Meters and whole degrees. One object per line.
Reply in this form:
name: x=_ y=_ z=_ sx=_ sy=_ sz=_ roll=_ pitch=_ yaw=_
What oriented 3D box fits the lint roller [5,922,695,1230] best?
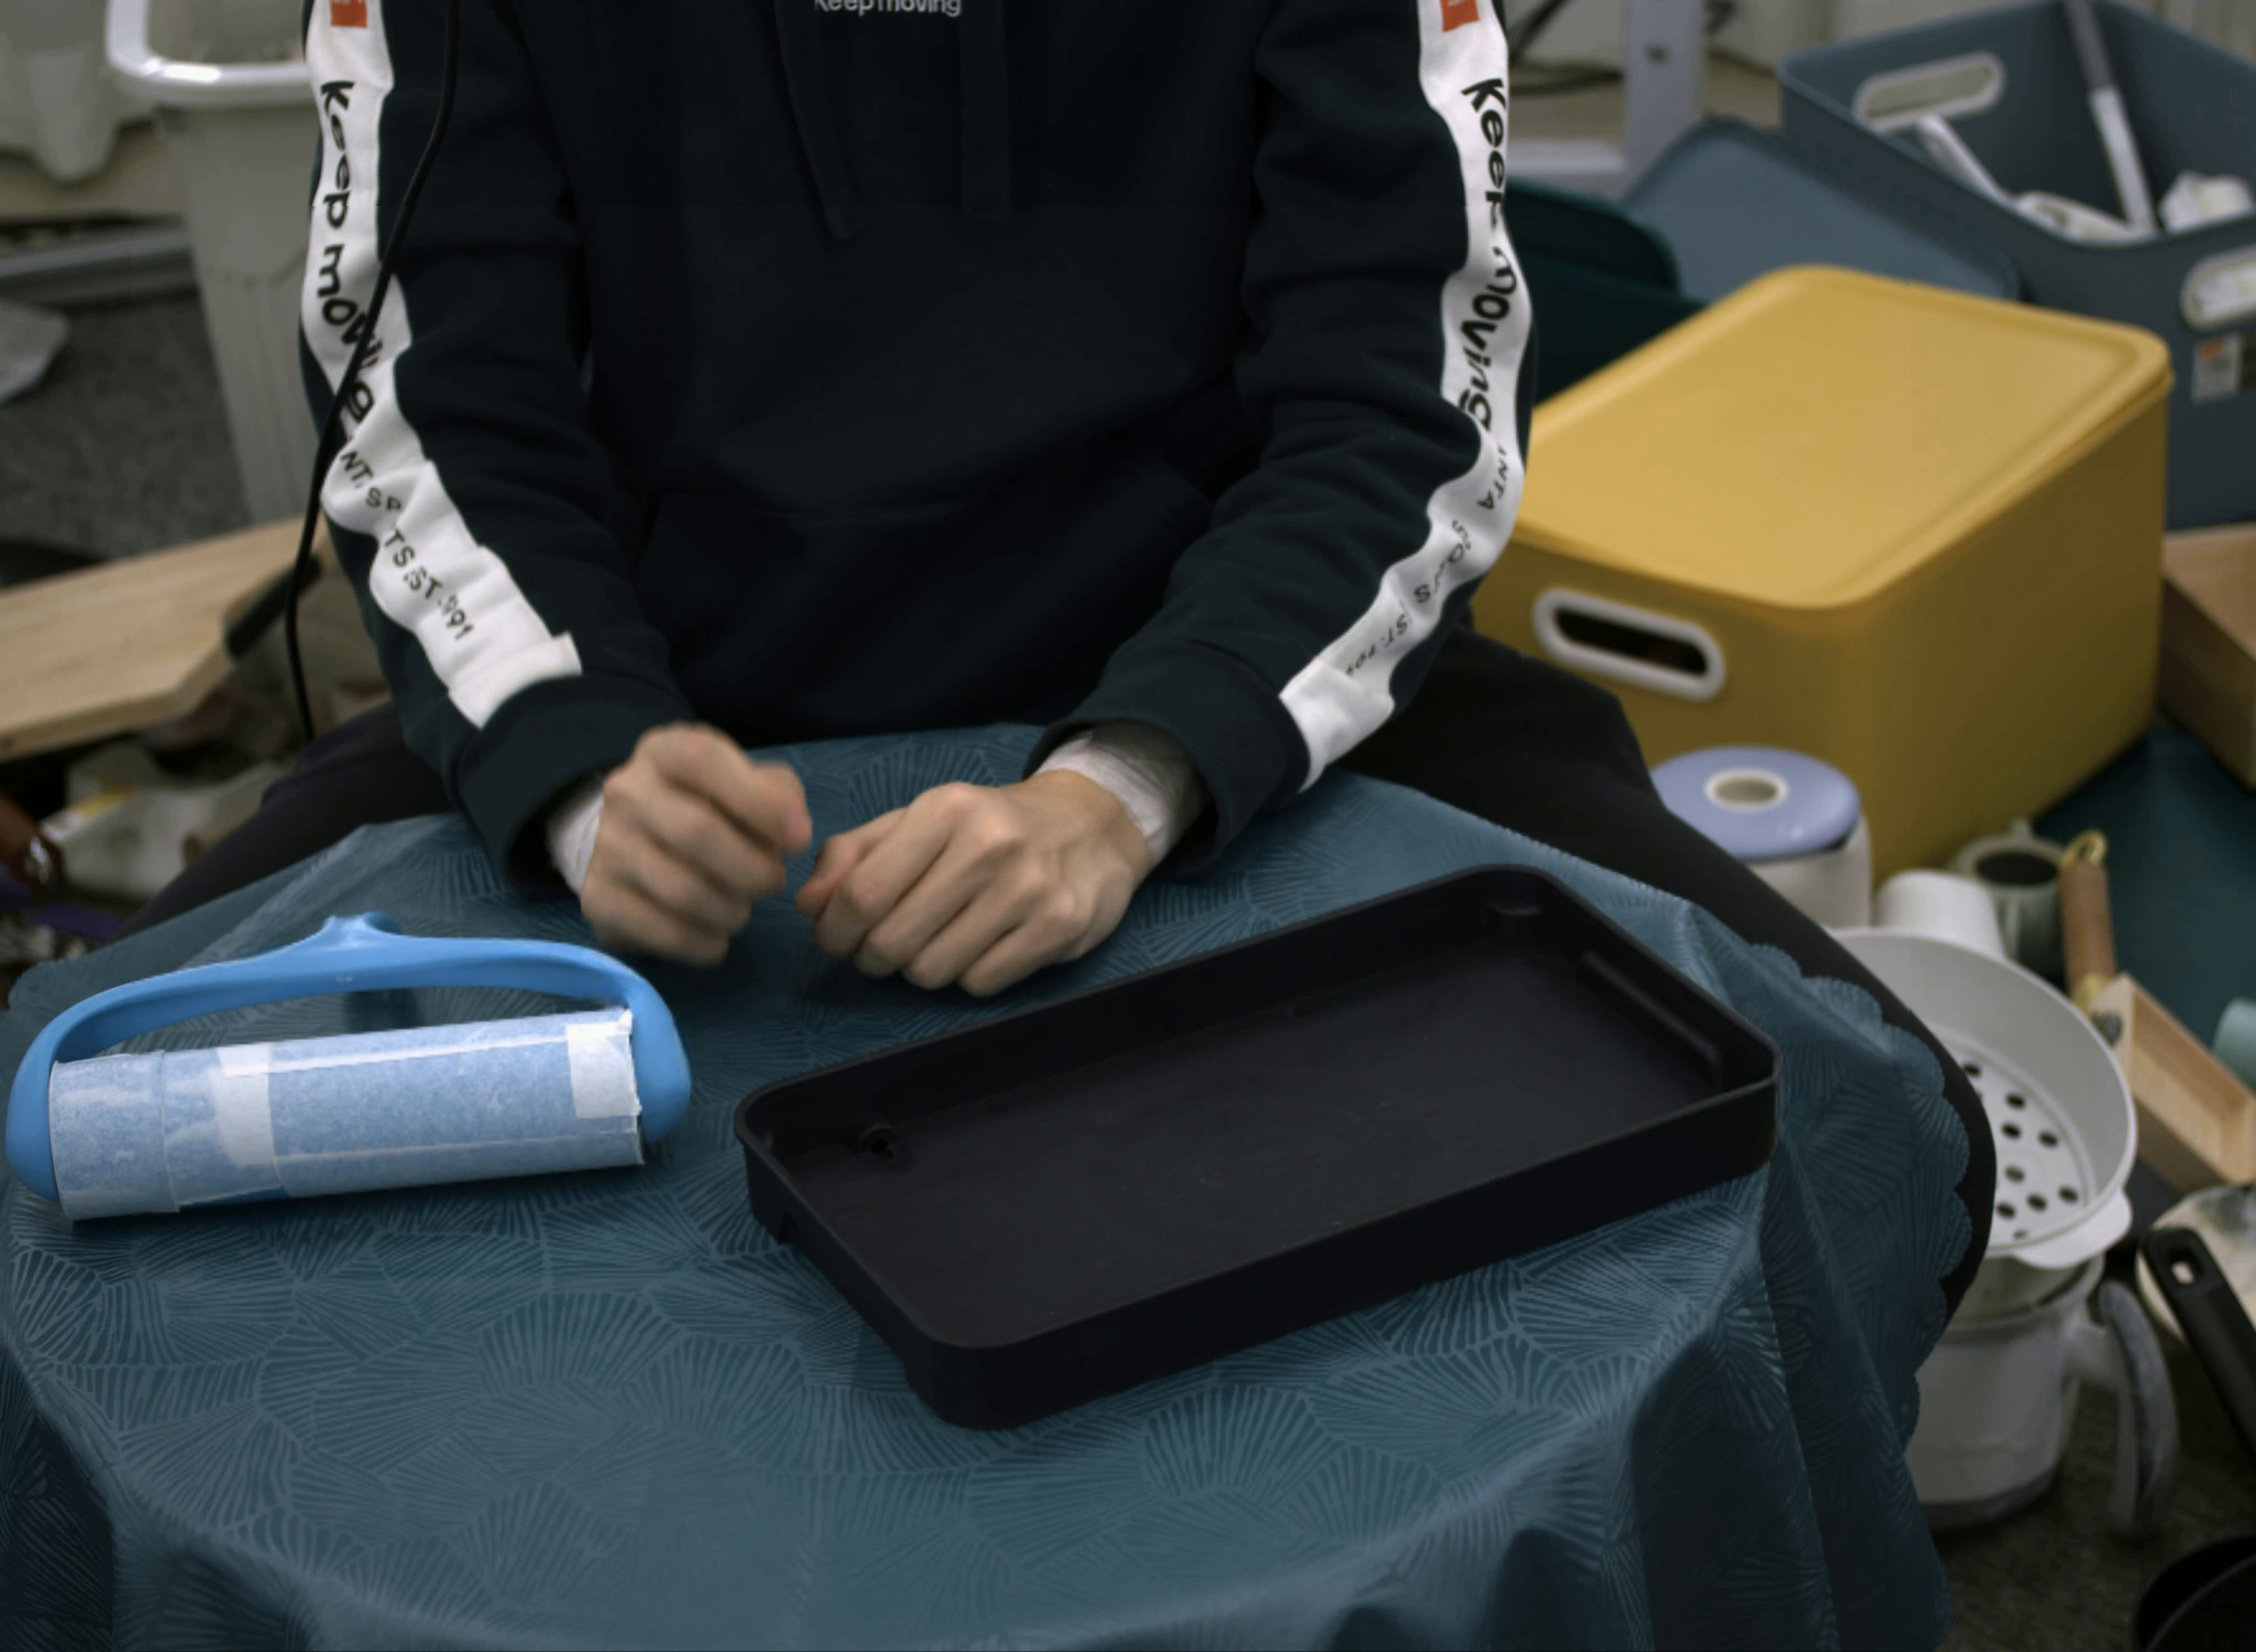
lint roller: x=-0.267 y=0.069 z=1.927 sx=0.228 sy=0.067 sz=0.182 roll=-8 pitch=29 yaw=-6

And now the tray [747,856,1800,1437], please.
tray: x=0.049 y=0.100 z=1.859 sx=0.320 sy=0.036 sz=0.185 roll=-18 pitch=31 yaw=-25
